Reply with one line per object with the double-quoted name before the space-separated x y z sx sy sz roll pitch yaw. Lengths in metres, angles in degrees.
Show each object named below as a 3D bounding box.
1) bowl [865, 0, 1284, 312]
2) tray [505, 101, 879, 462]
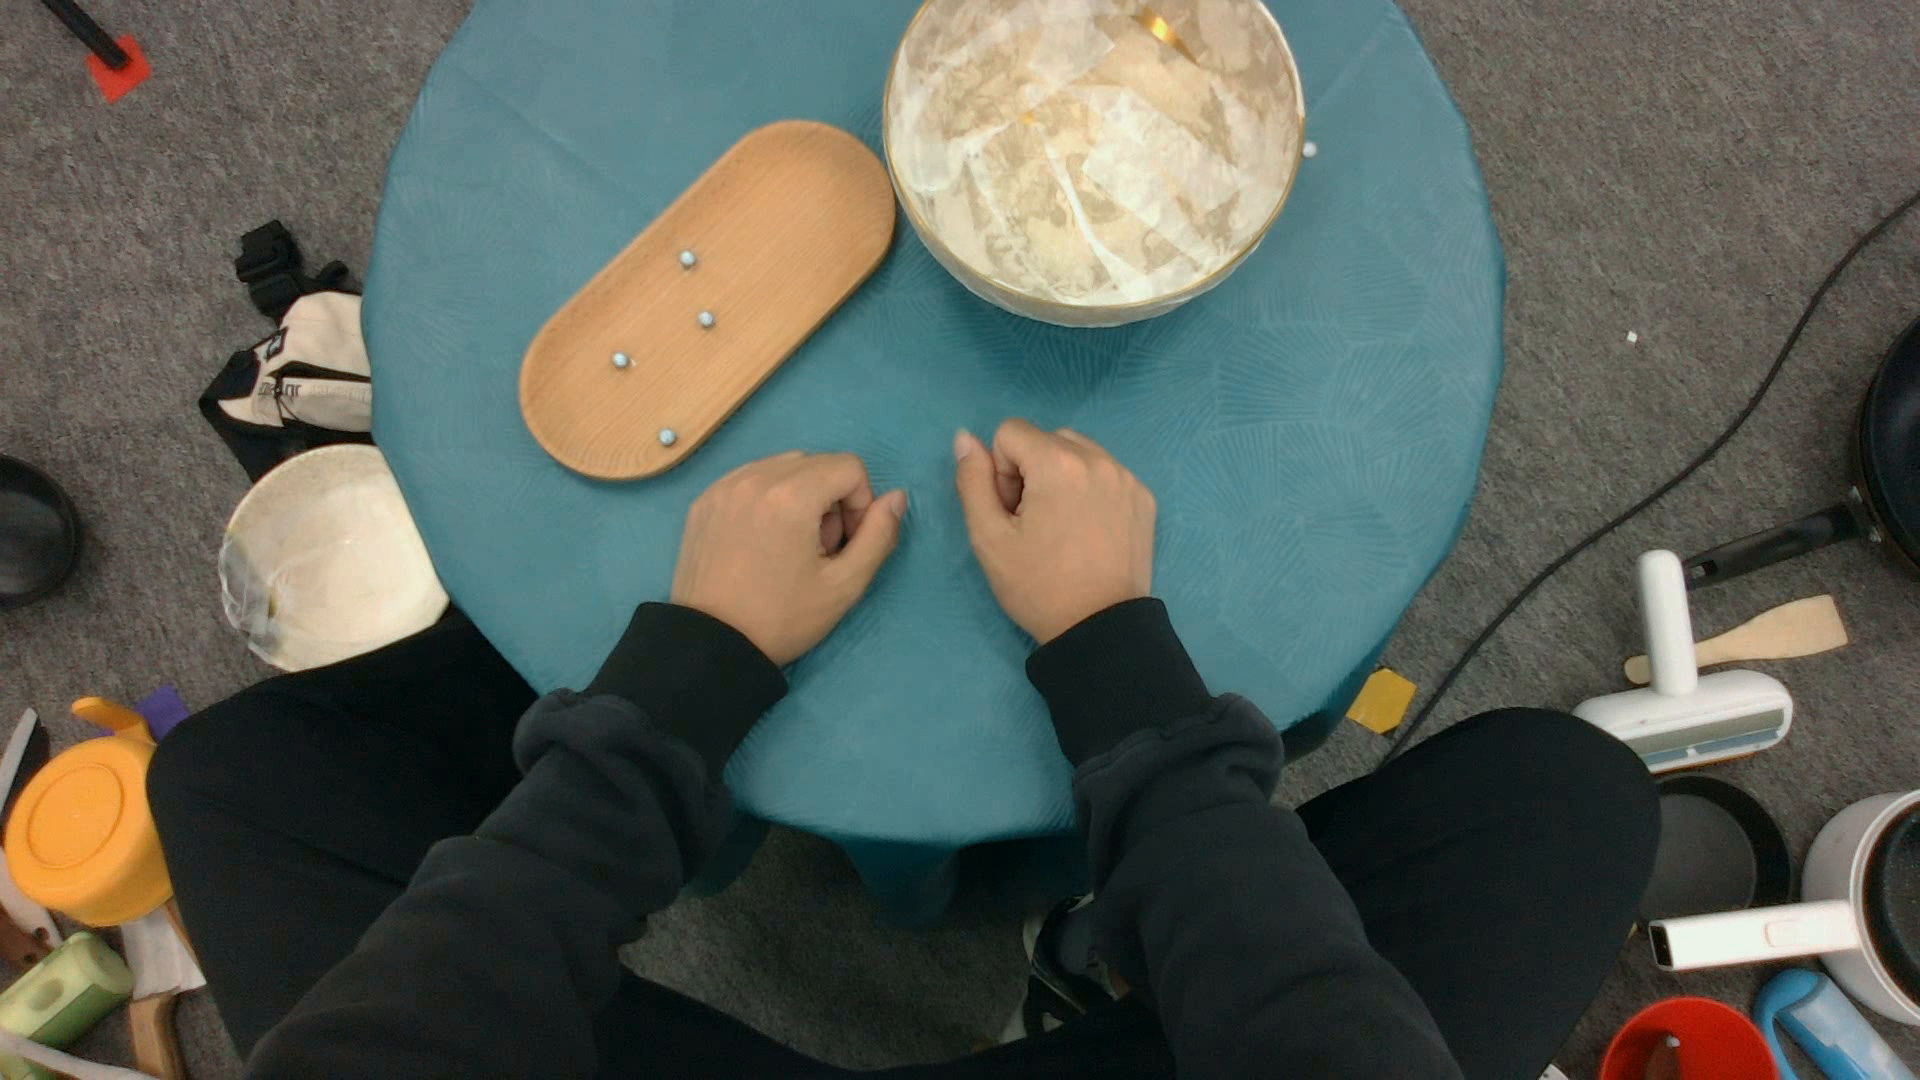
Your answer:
"bowl" 0.050 -0.200 0.698 0.215 0.094 0.215 1 78 -3
"tray" -0.136 -0.136 0.716 0.101 0.020 0.231 41 77 5
